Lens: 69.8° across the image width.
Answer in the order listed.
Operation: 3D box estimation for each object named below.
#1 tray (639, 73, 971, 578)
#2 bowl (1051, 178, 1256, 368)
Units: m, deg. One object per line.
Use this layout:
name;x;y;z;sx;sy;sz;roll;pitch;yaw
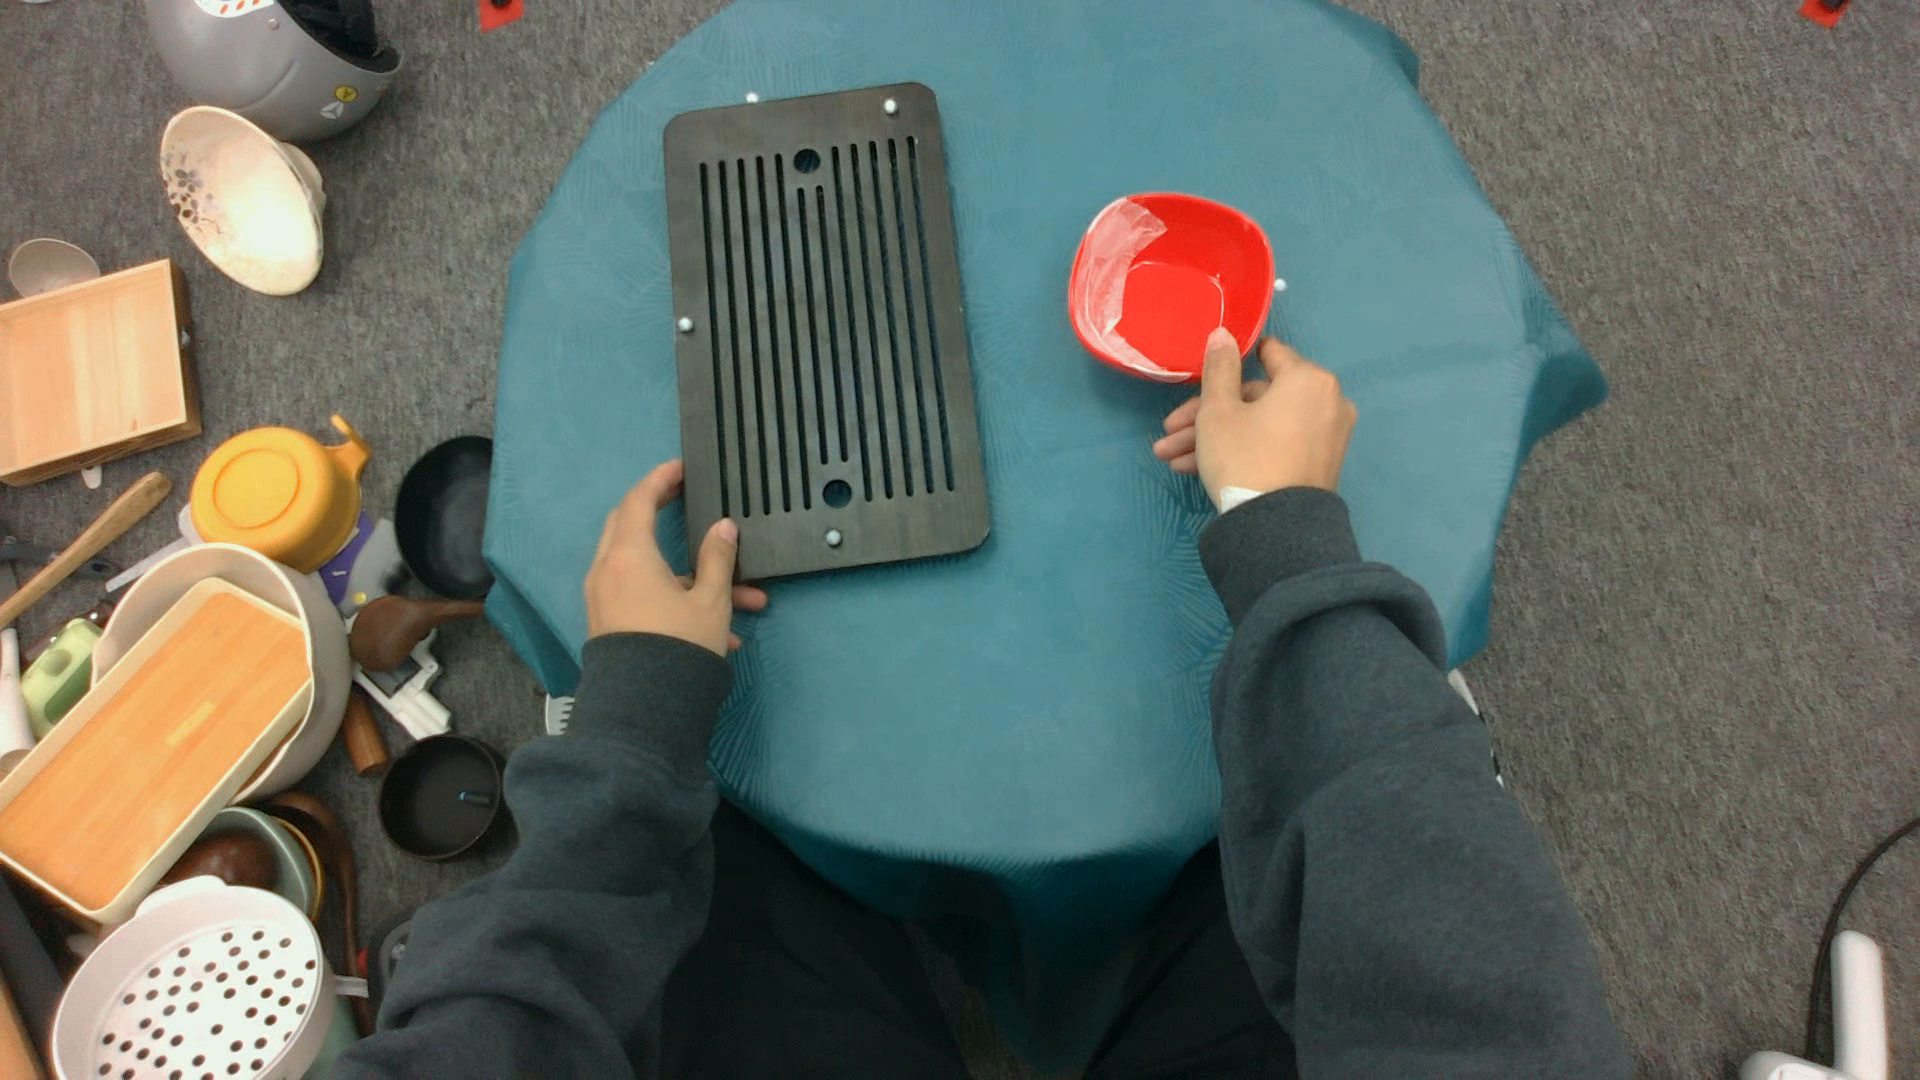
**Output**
tray;-0.095;-0.132;0.805;0.170;0.018;0.306;-8;72;1
bowl;0.107;-0.142;0.778;0.119;0.051;0.119;-1;72;2
